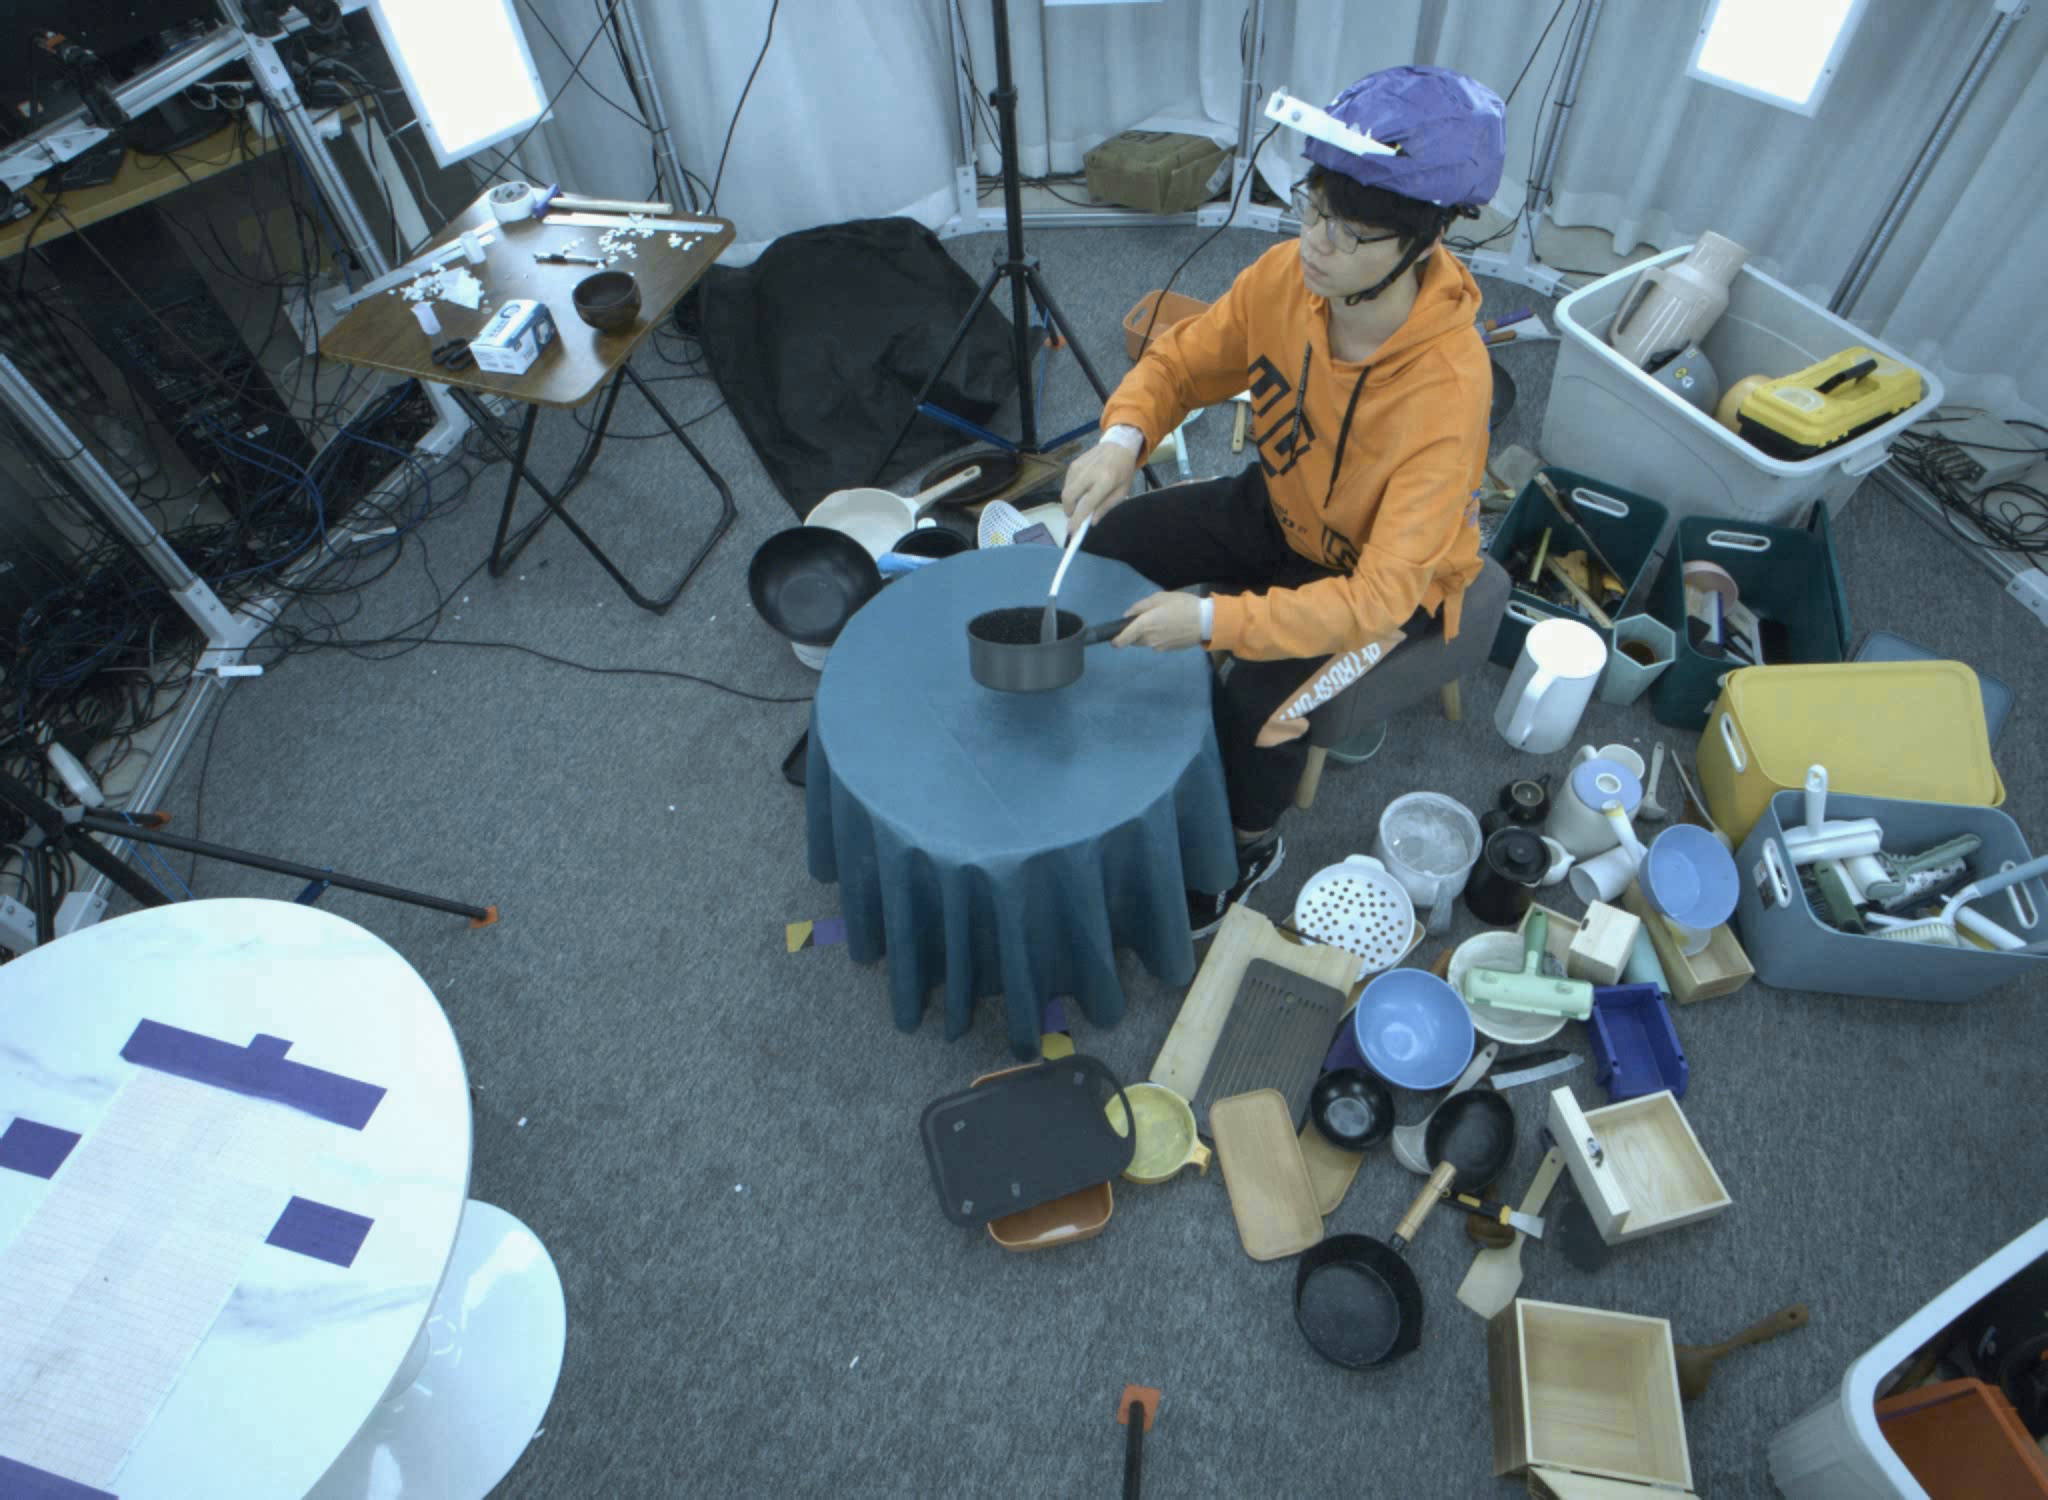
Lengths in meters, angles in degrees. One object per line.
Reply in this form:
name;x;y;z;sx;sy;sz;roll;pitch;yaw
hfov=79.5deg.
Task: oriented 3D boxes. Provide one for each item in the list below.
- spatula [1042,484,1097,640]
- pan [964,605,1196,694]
spatula;0.060;-0.251;1.779;0.033;0.057;0.287;19;76;-27
pan;0.081;-0.152;1.754;0.330;0.087;0.170;-5;27;-4
